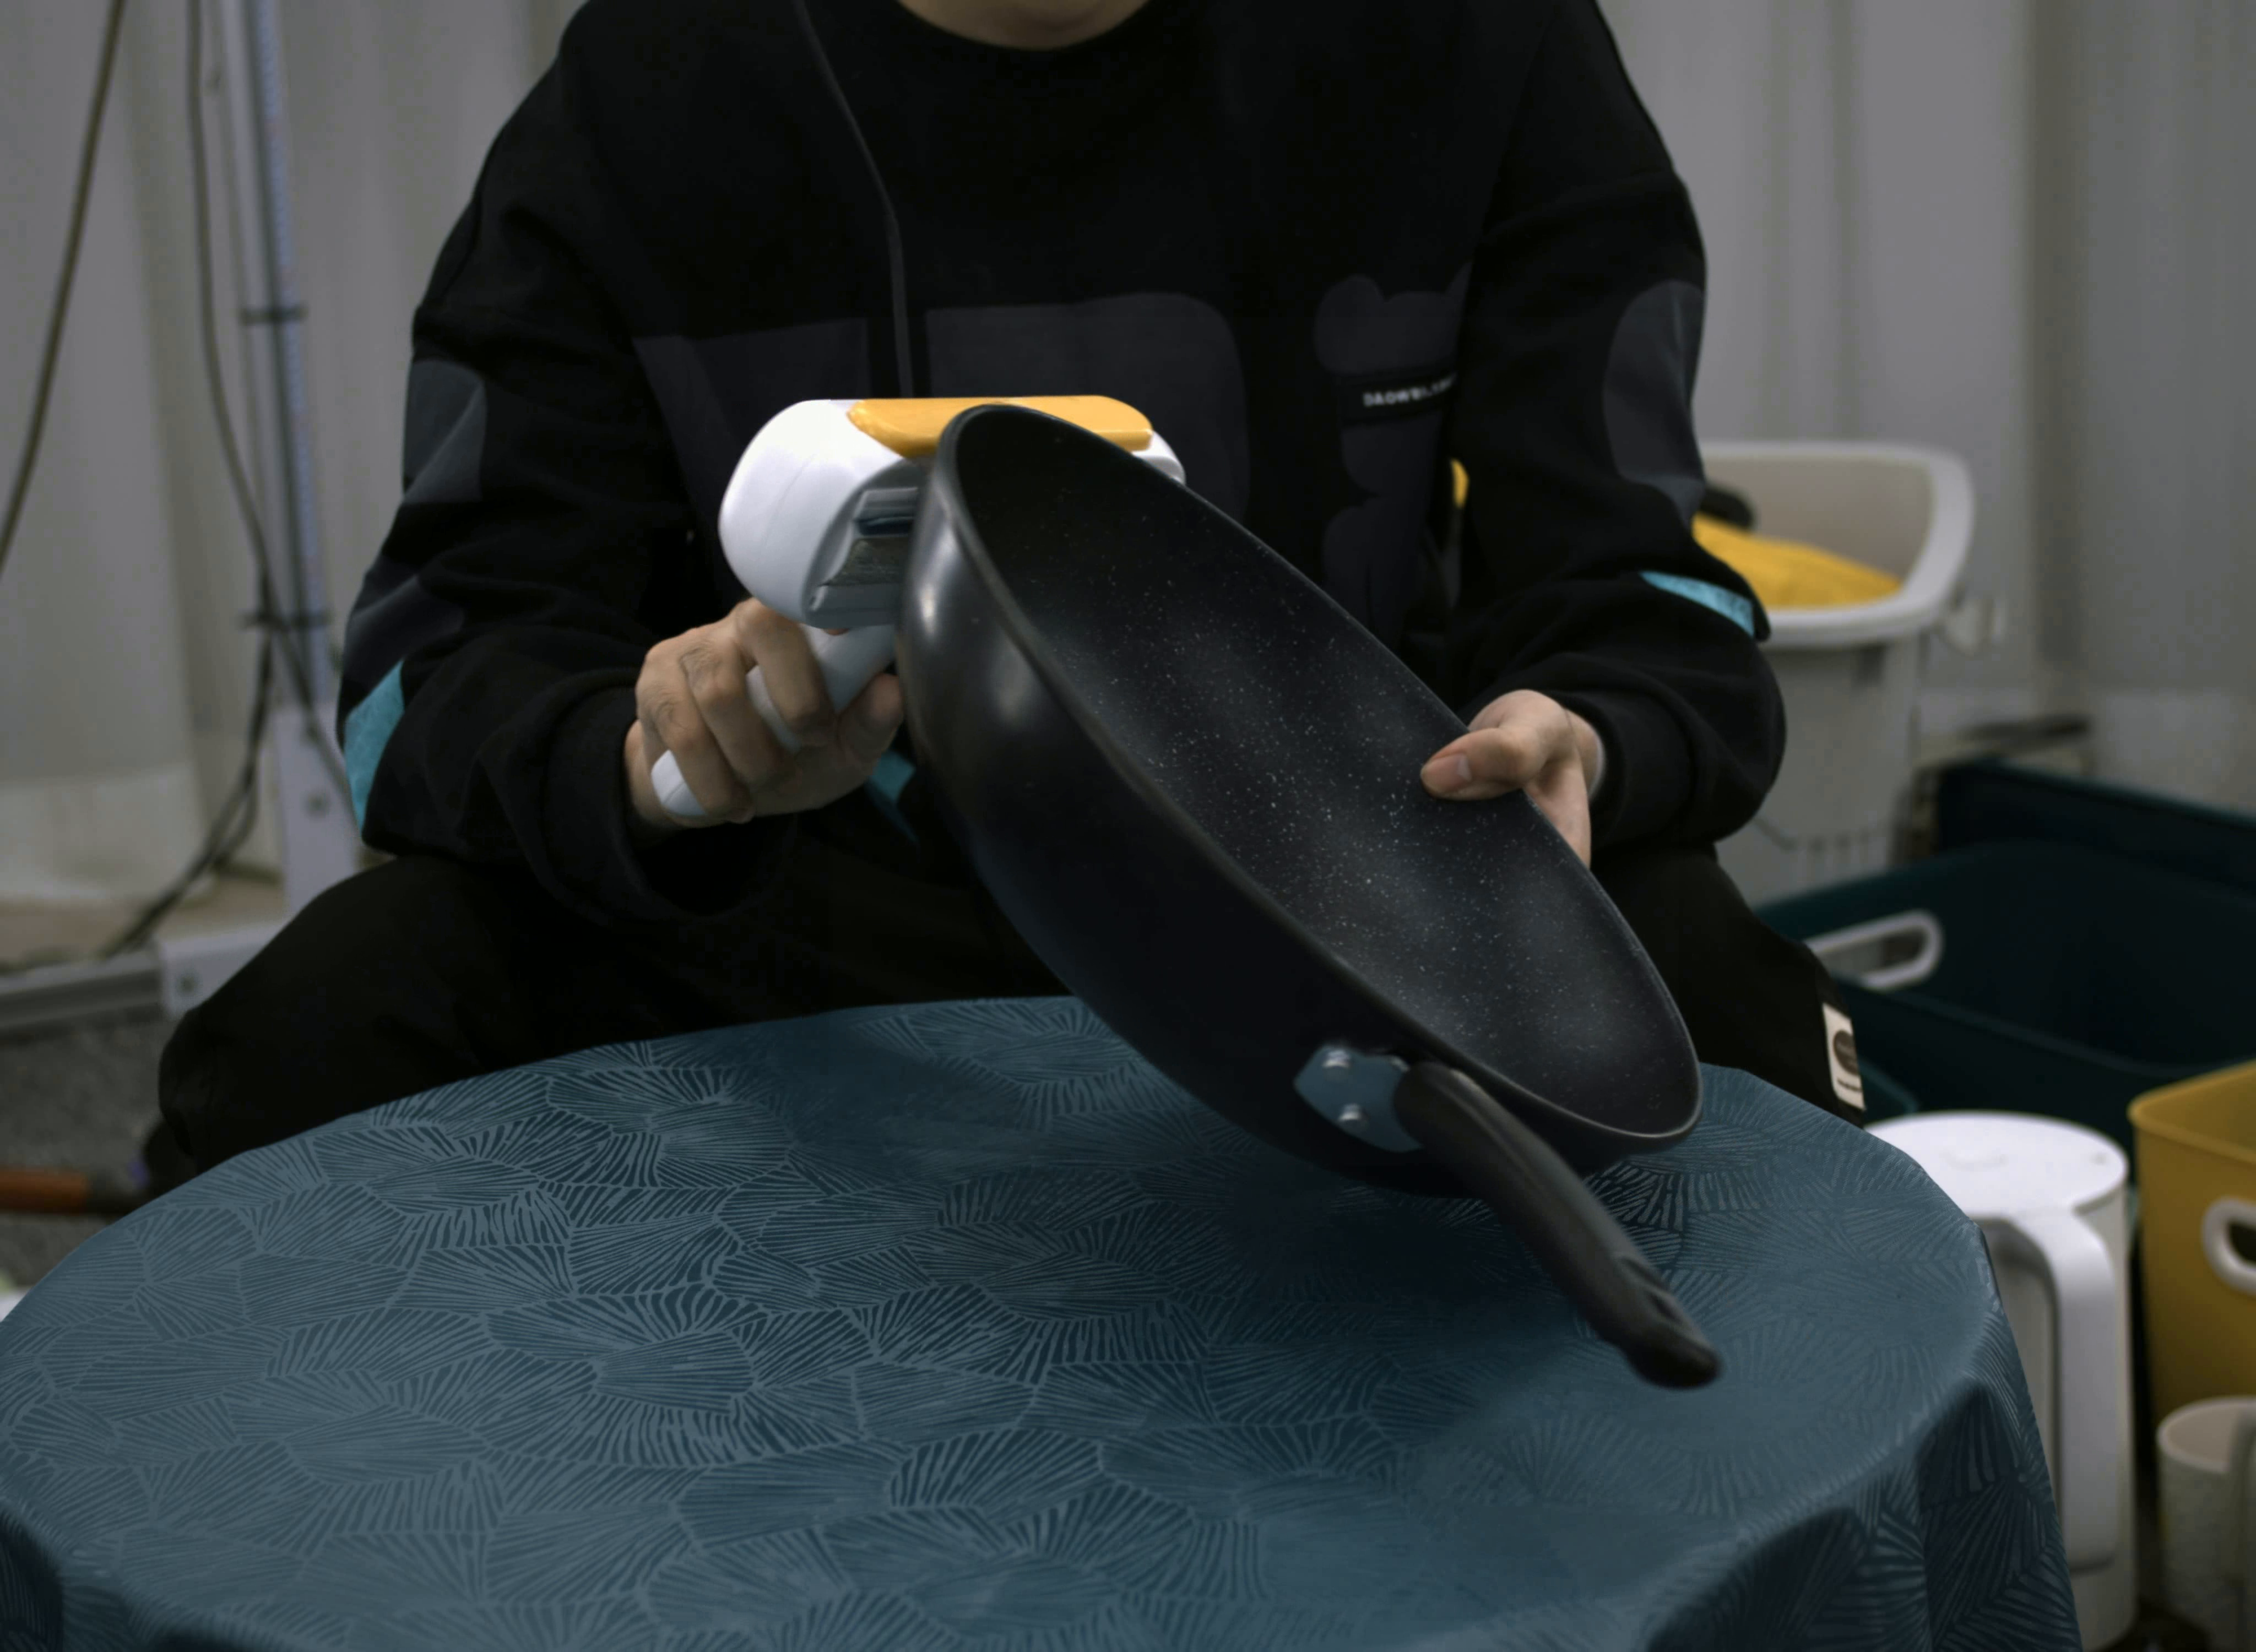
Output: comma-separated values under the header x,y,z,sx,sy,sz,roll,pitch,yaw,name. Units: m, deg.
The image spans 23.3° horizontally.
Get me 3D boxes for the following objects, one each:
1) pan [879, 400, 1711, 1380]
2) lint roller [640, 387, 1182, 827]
x,y,z,sx,sy,sz,roll,pitch,yaw,name
0.057,0.043,1.587,0.307,0.111,0.484,32,19,-29,pan
-0.089,-0.063,1.777,0.075,0.191,0.192,43,23,20,lint roller
